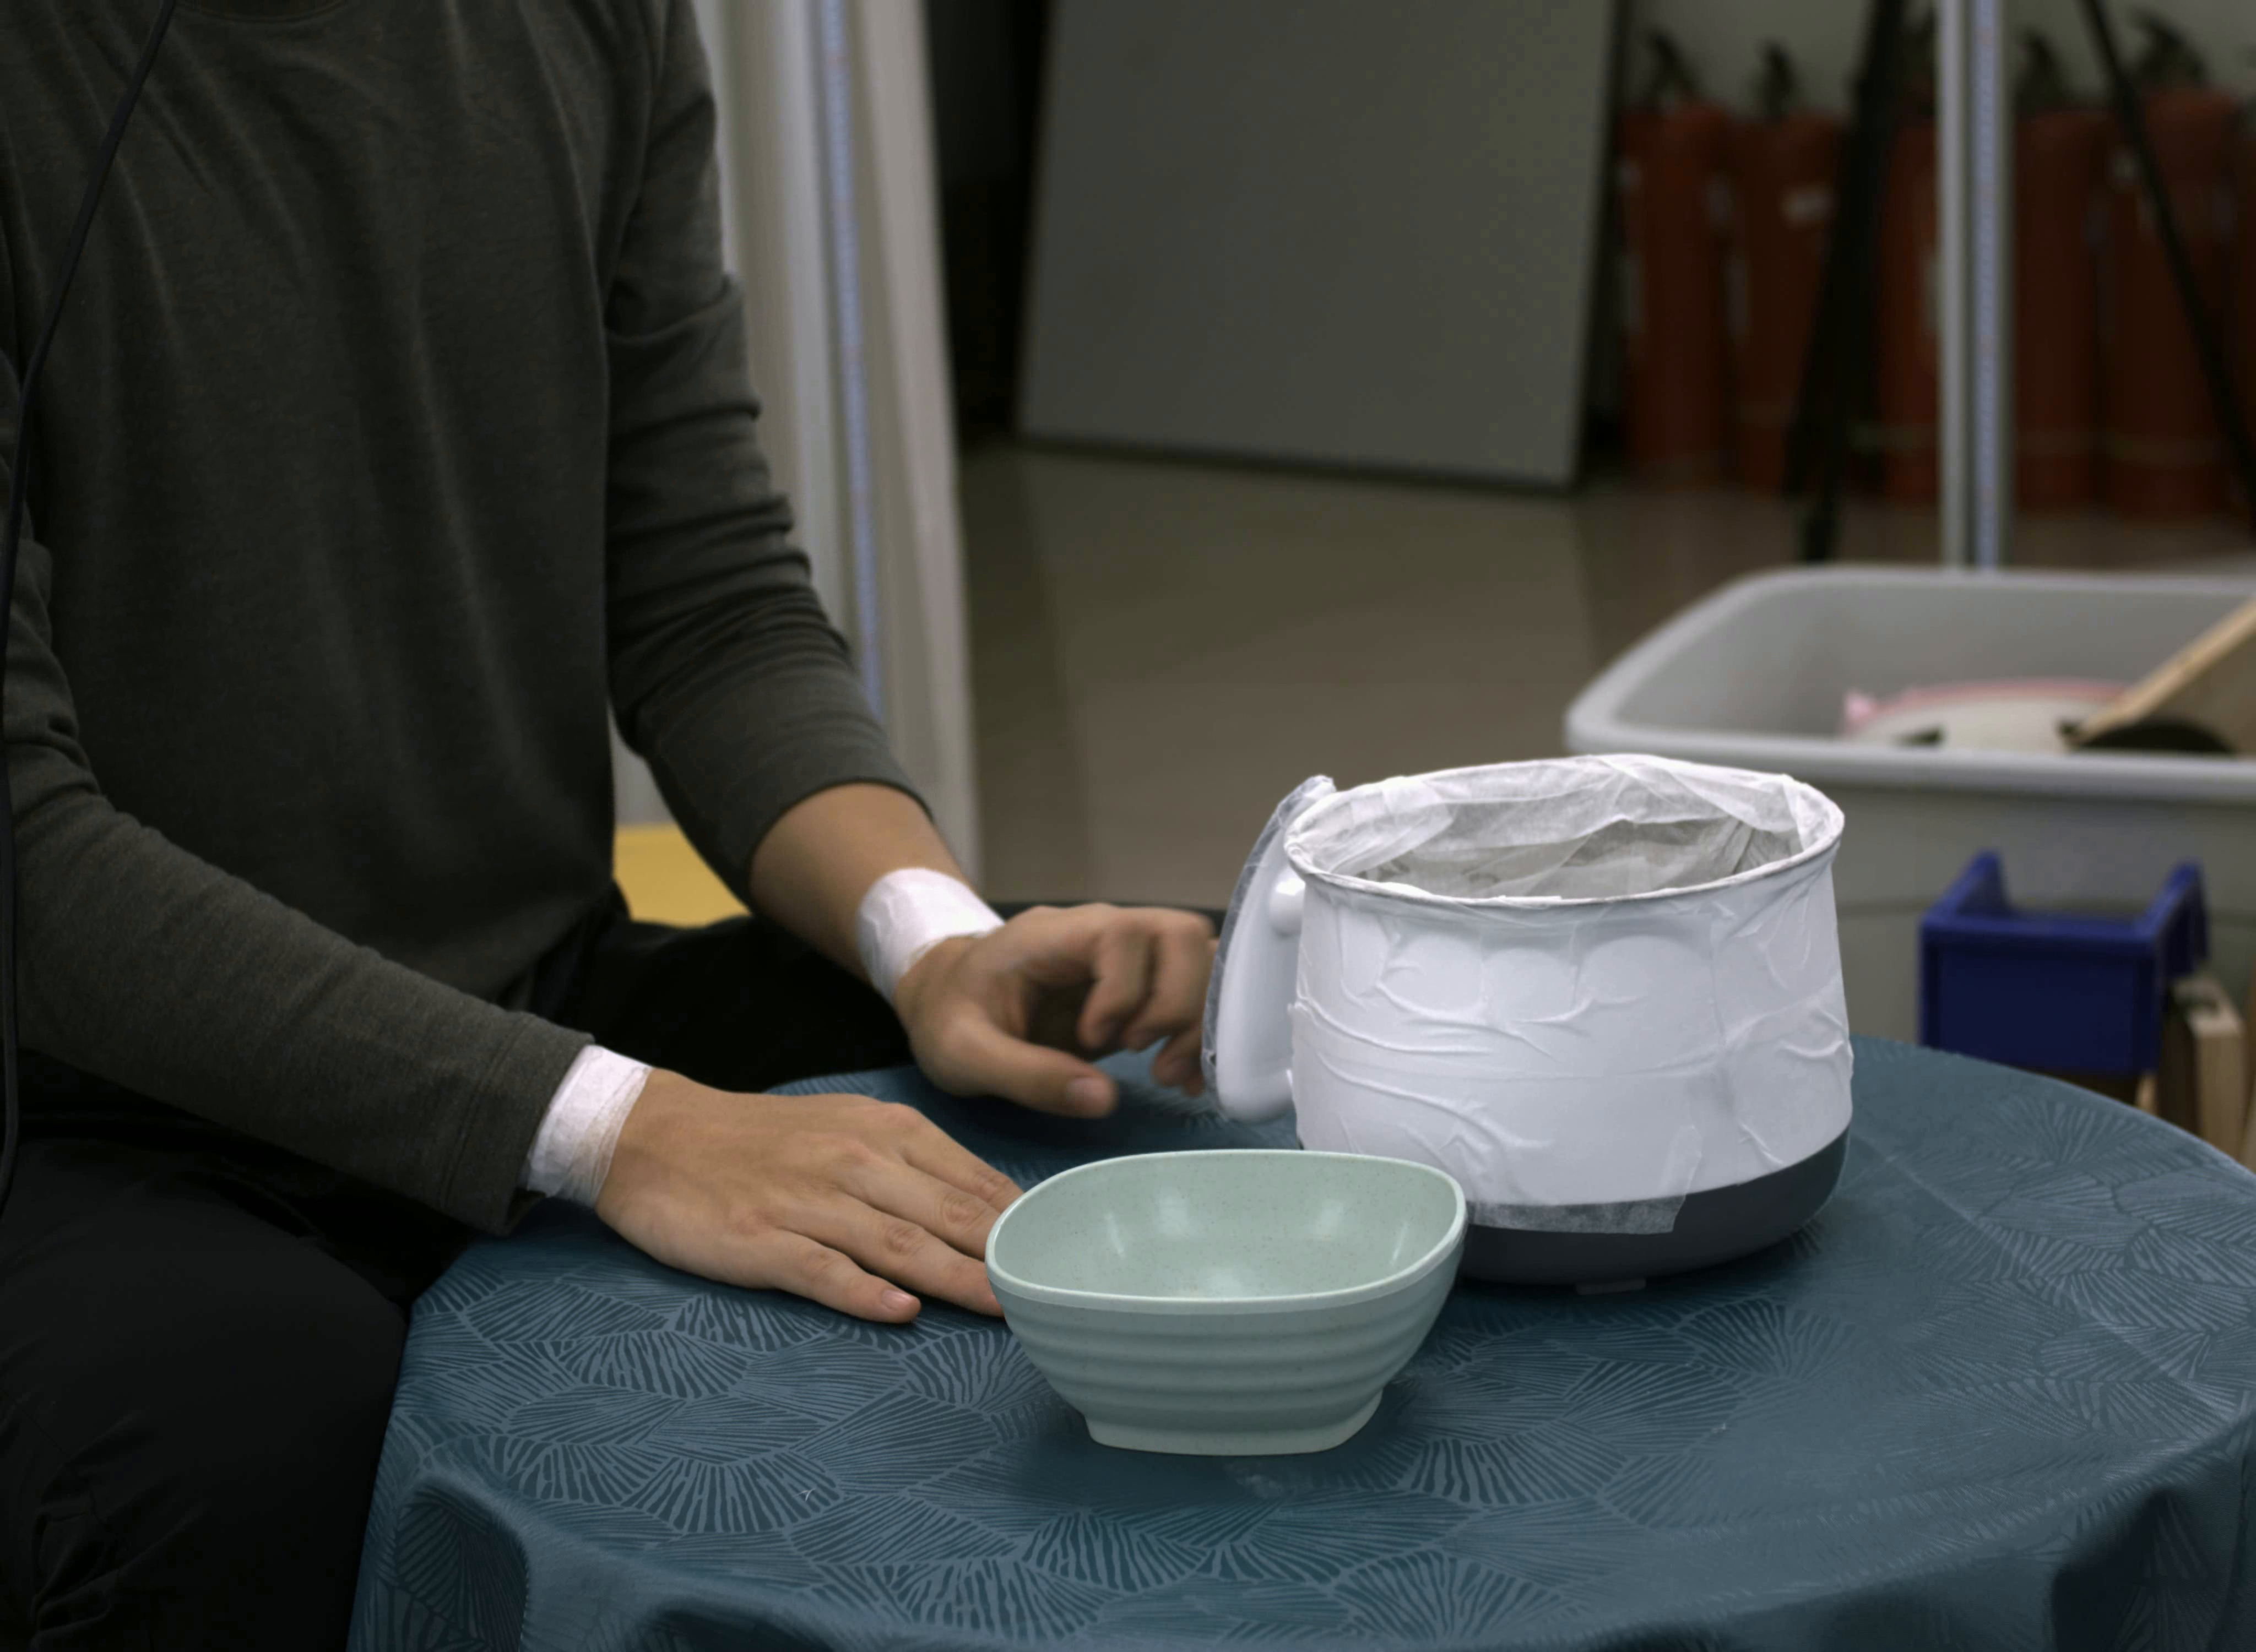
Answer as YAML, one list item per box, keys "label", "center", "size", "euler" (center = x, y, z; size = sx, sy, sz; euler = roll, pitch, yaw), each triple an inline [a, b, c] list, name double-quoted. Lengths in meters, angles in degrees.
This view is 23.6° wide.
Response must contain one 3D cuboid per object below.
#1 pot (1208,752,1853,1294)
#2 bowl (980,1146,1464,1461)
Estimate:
- label: "pot"
  center: [0.118, 0.058, 1.712]
  size: [0.235, 0.138, 0.175]
  euler: [7, 17, 40]
- label: "bowl"
  center: [0.029, 0.142, 1.562]
  size: [0.149, 0.059, 0.152]
  euler: [-3, 14, 0]
